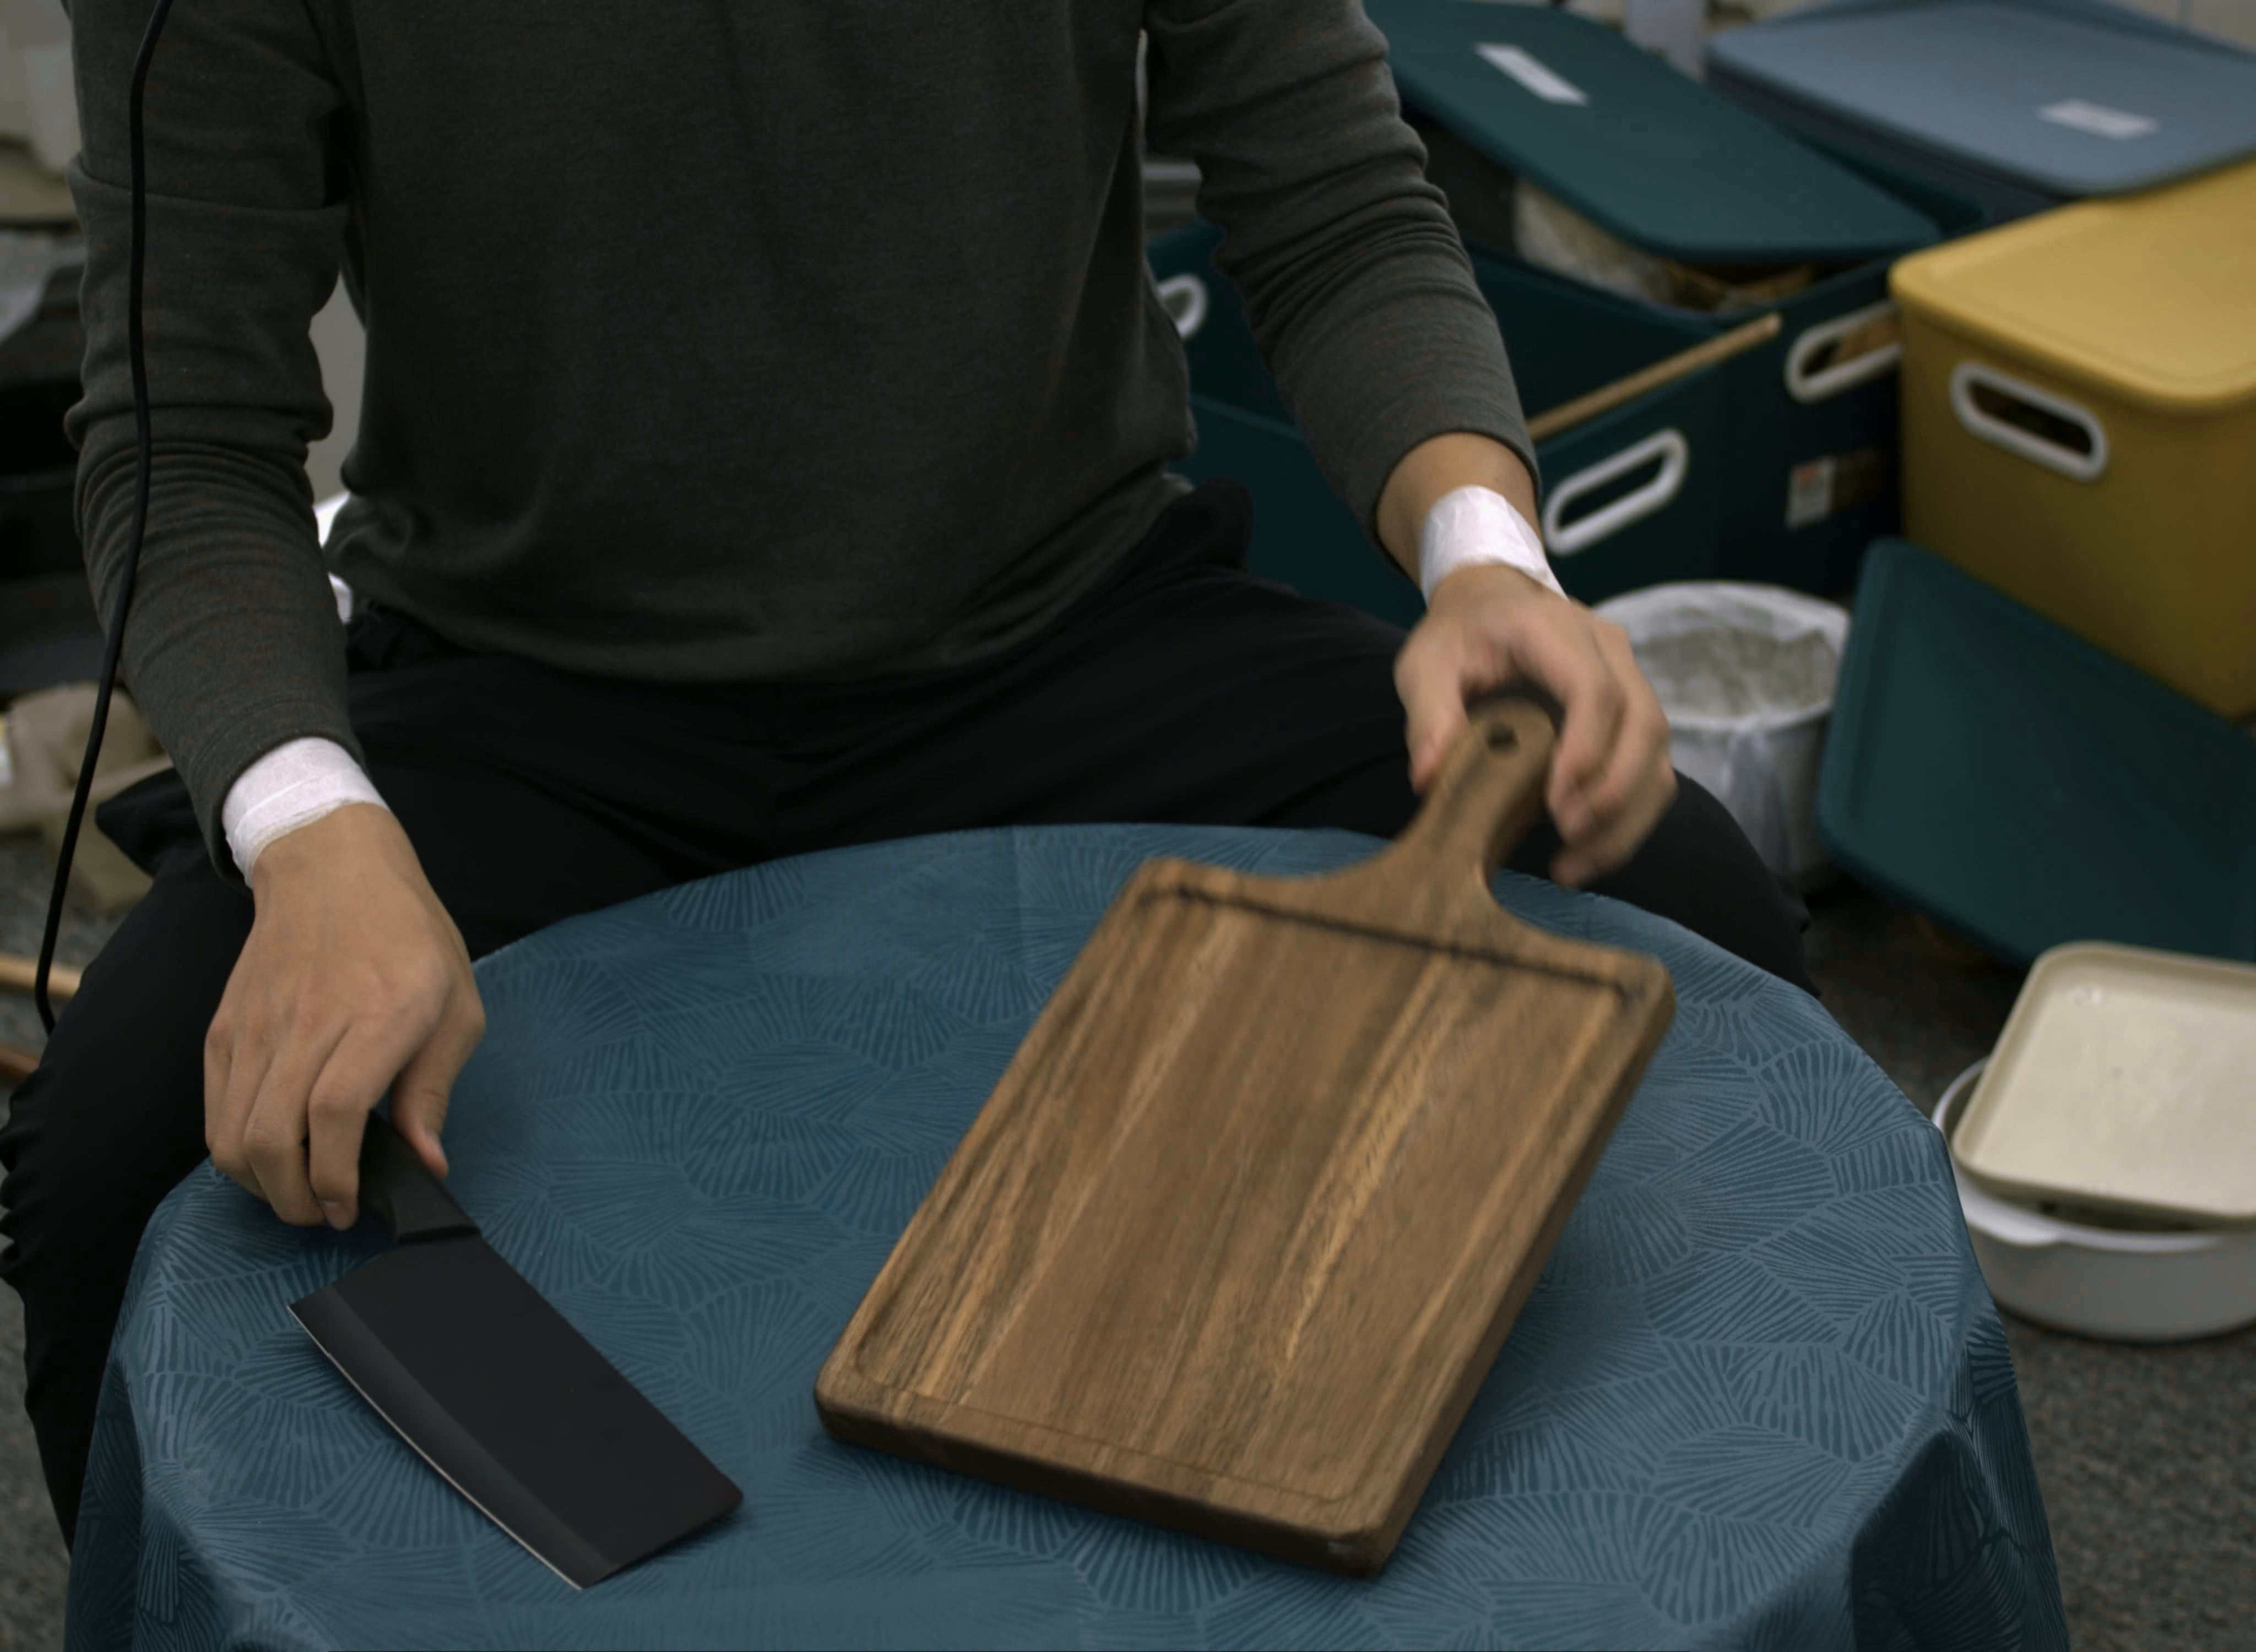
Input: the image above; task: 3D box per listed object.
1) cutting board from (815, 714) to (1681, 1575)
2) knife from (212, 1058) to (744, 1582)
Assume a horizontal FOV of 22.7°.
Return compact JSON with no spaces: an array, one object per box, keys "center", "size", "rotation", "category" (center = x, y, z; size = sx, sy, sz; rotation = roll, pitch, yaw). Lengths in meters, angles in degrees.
[{"center":[0.061,0.085,1.802],"size":[0.200,0.023,0.359],"rotation":[11,46,25],"category":"cutting board"},{"center":[-0.222,0.153,1.791],"size":[0.081,0.020,0.304],"rotation":[-21,36,-23],"category":"knife"}]
